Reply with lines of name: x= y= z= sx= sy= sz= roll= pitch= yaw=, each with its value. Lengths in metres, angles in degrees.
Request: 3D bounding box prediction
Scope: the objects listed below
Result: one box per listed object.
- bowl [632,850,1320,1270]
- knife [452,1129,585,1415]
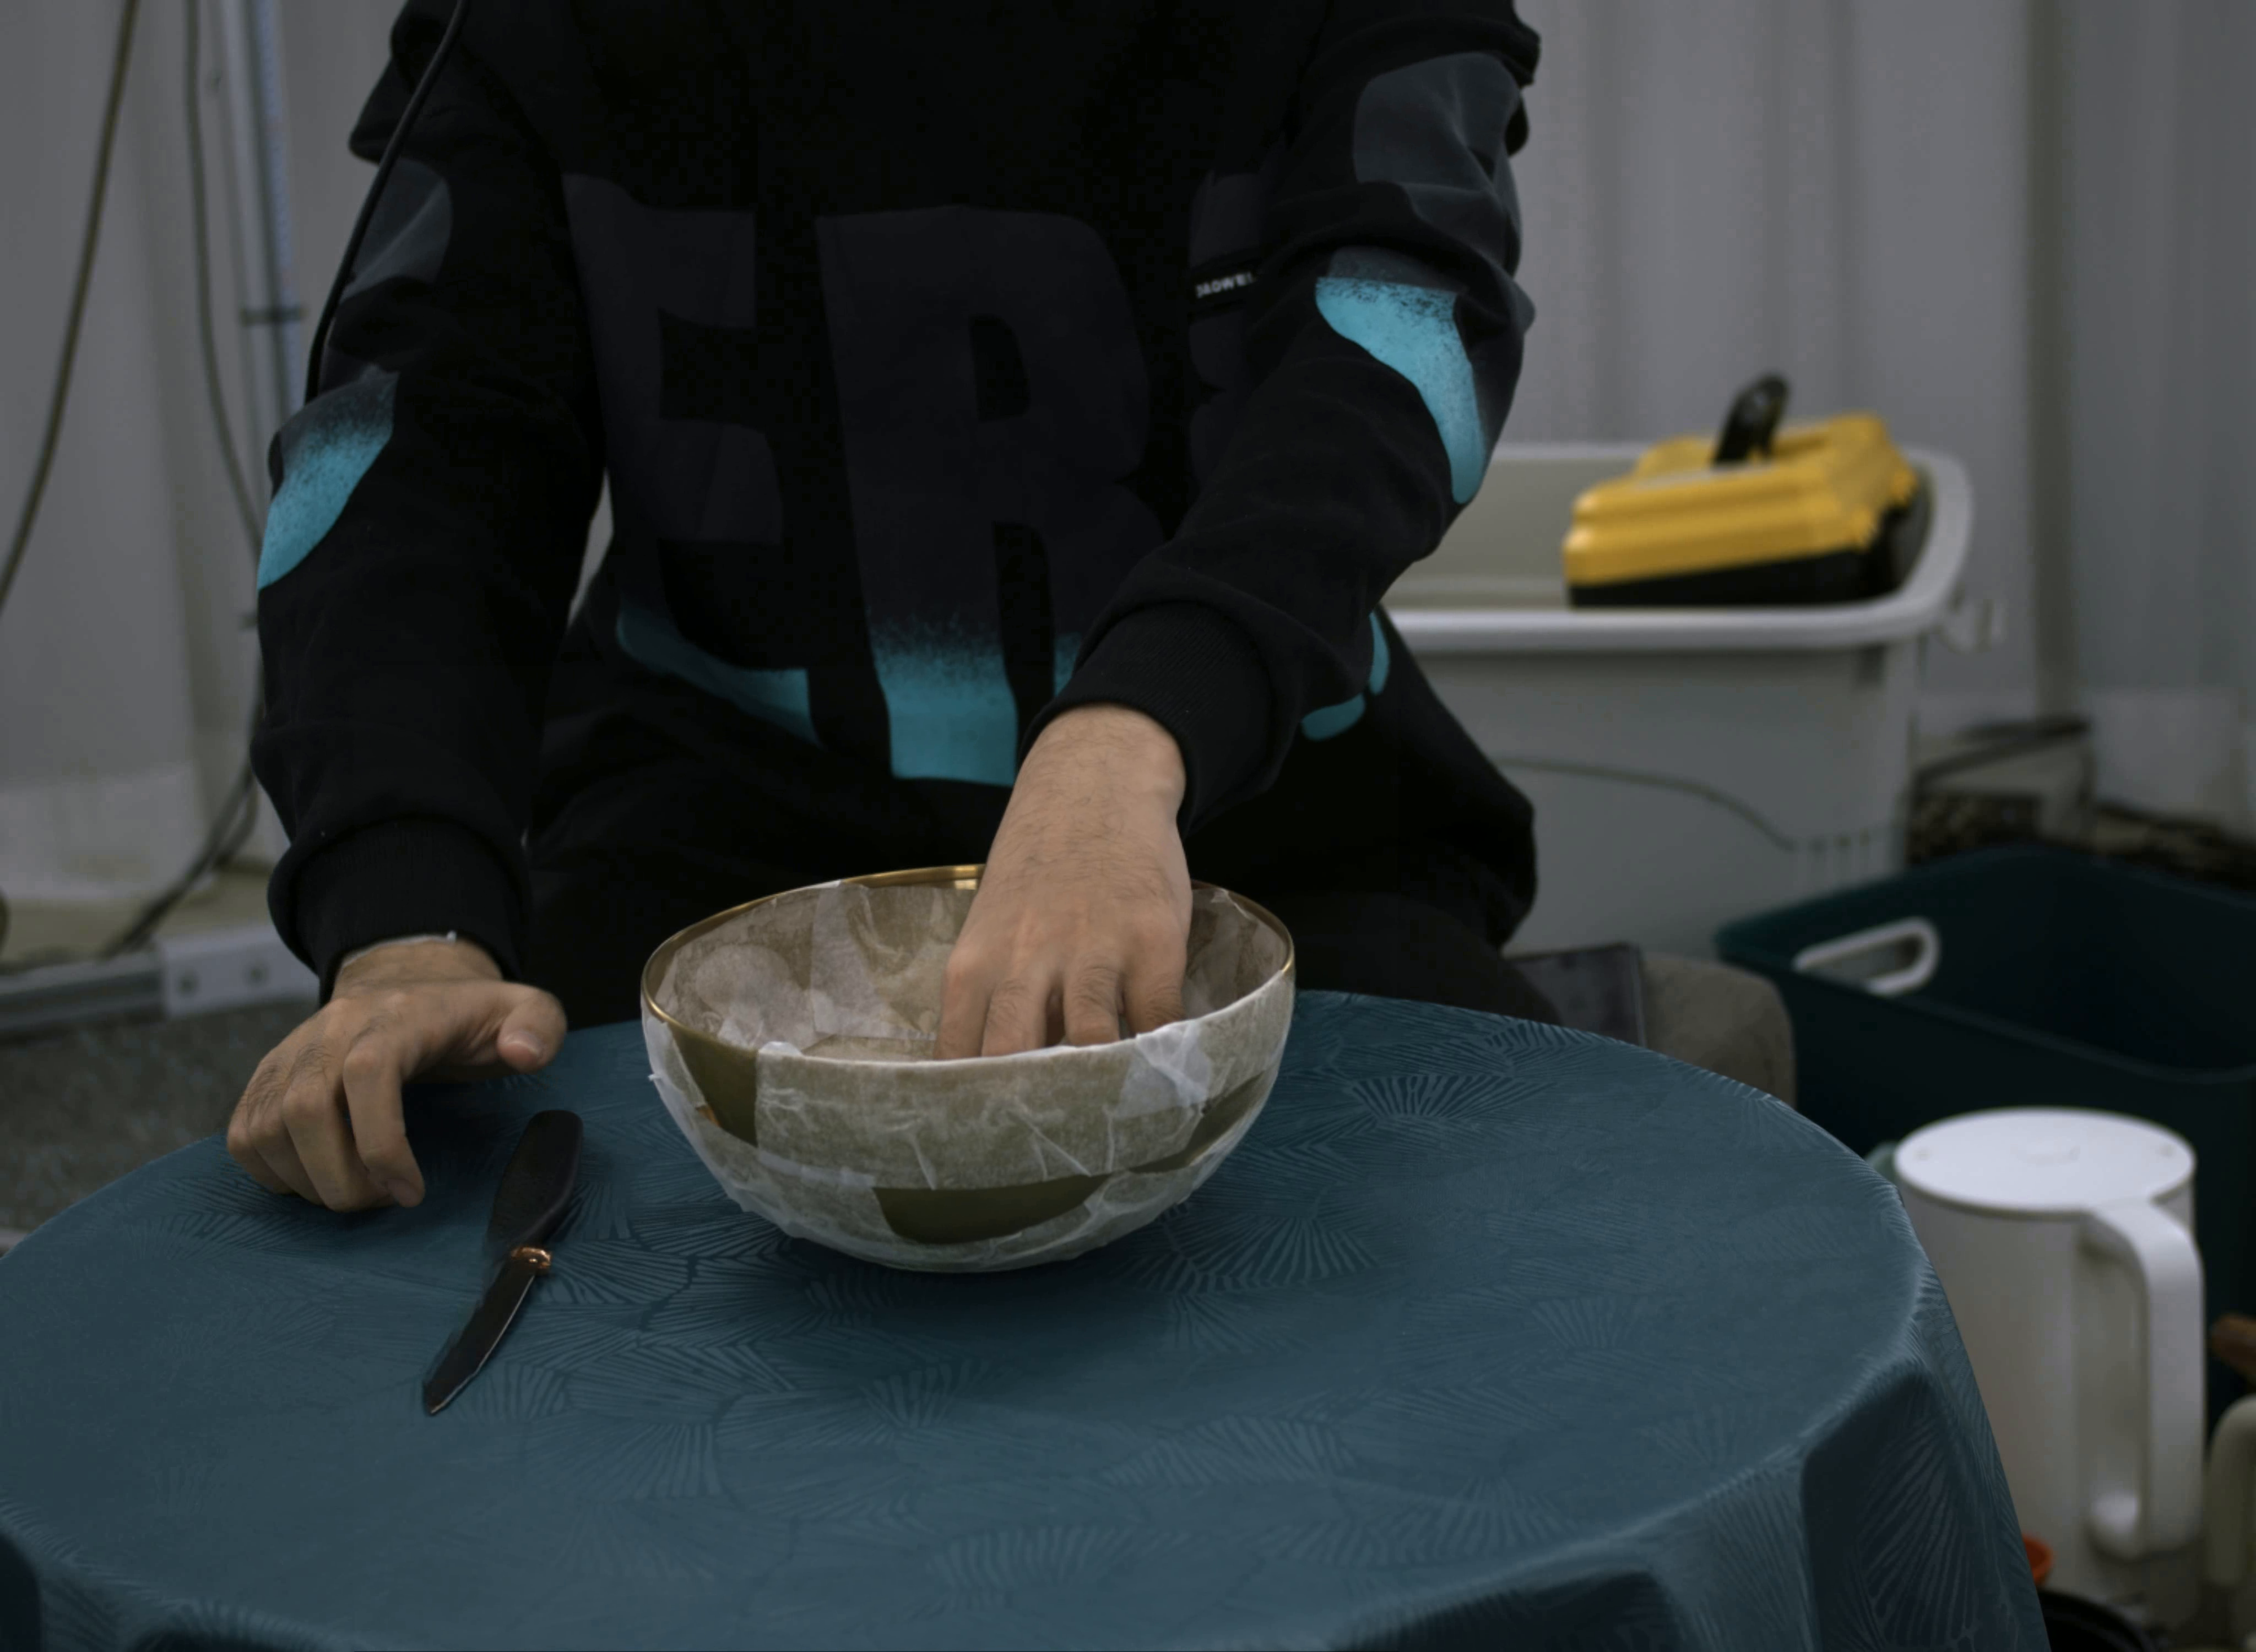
bowl: x=-0.045 y=0.080 z=1.671 sx=0.214 sy=0.094 sz=0.216 roll=-4 pitch=16 yaw=1
knife: x=-0.187 y=0.134 z=1.660 sx=0.026 sy=0.017 sz=0.227 roll=4 pitch=16 yaw=1
